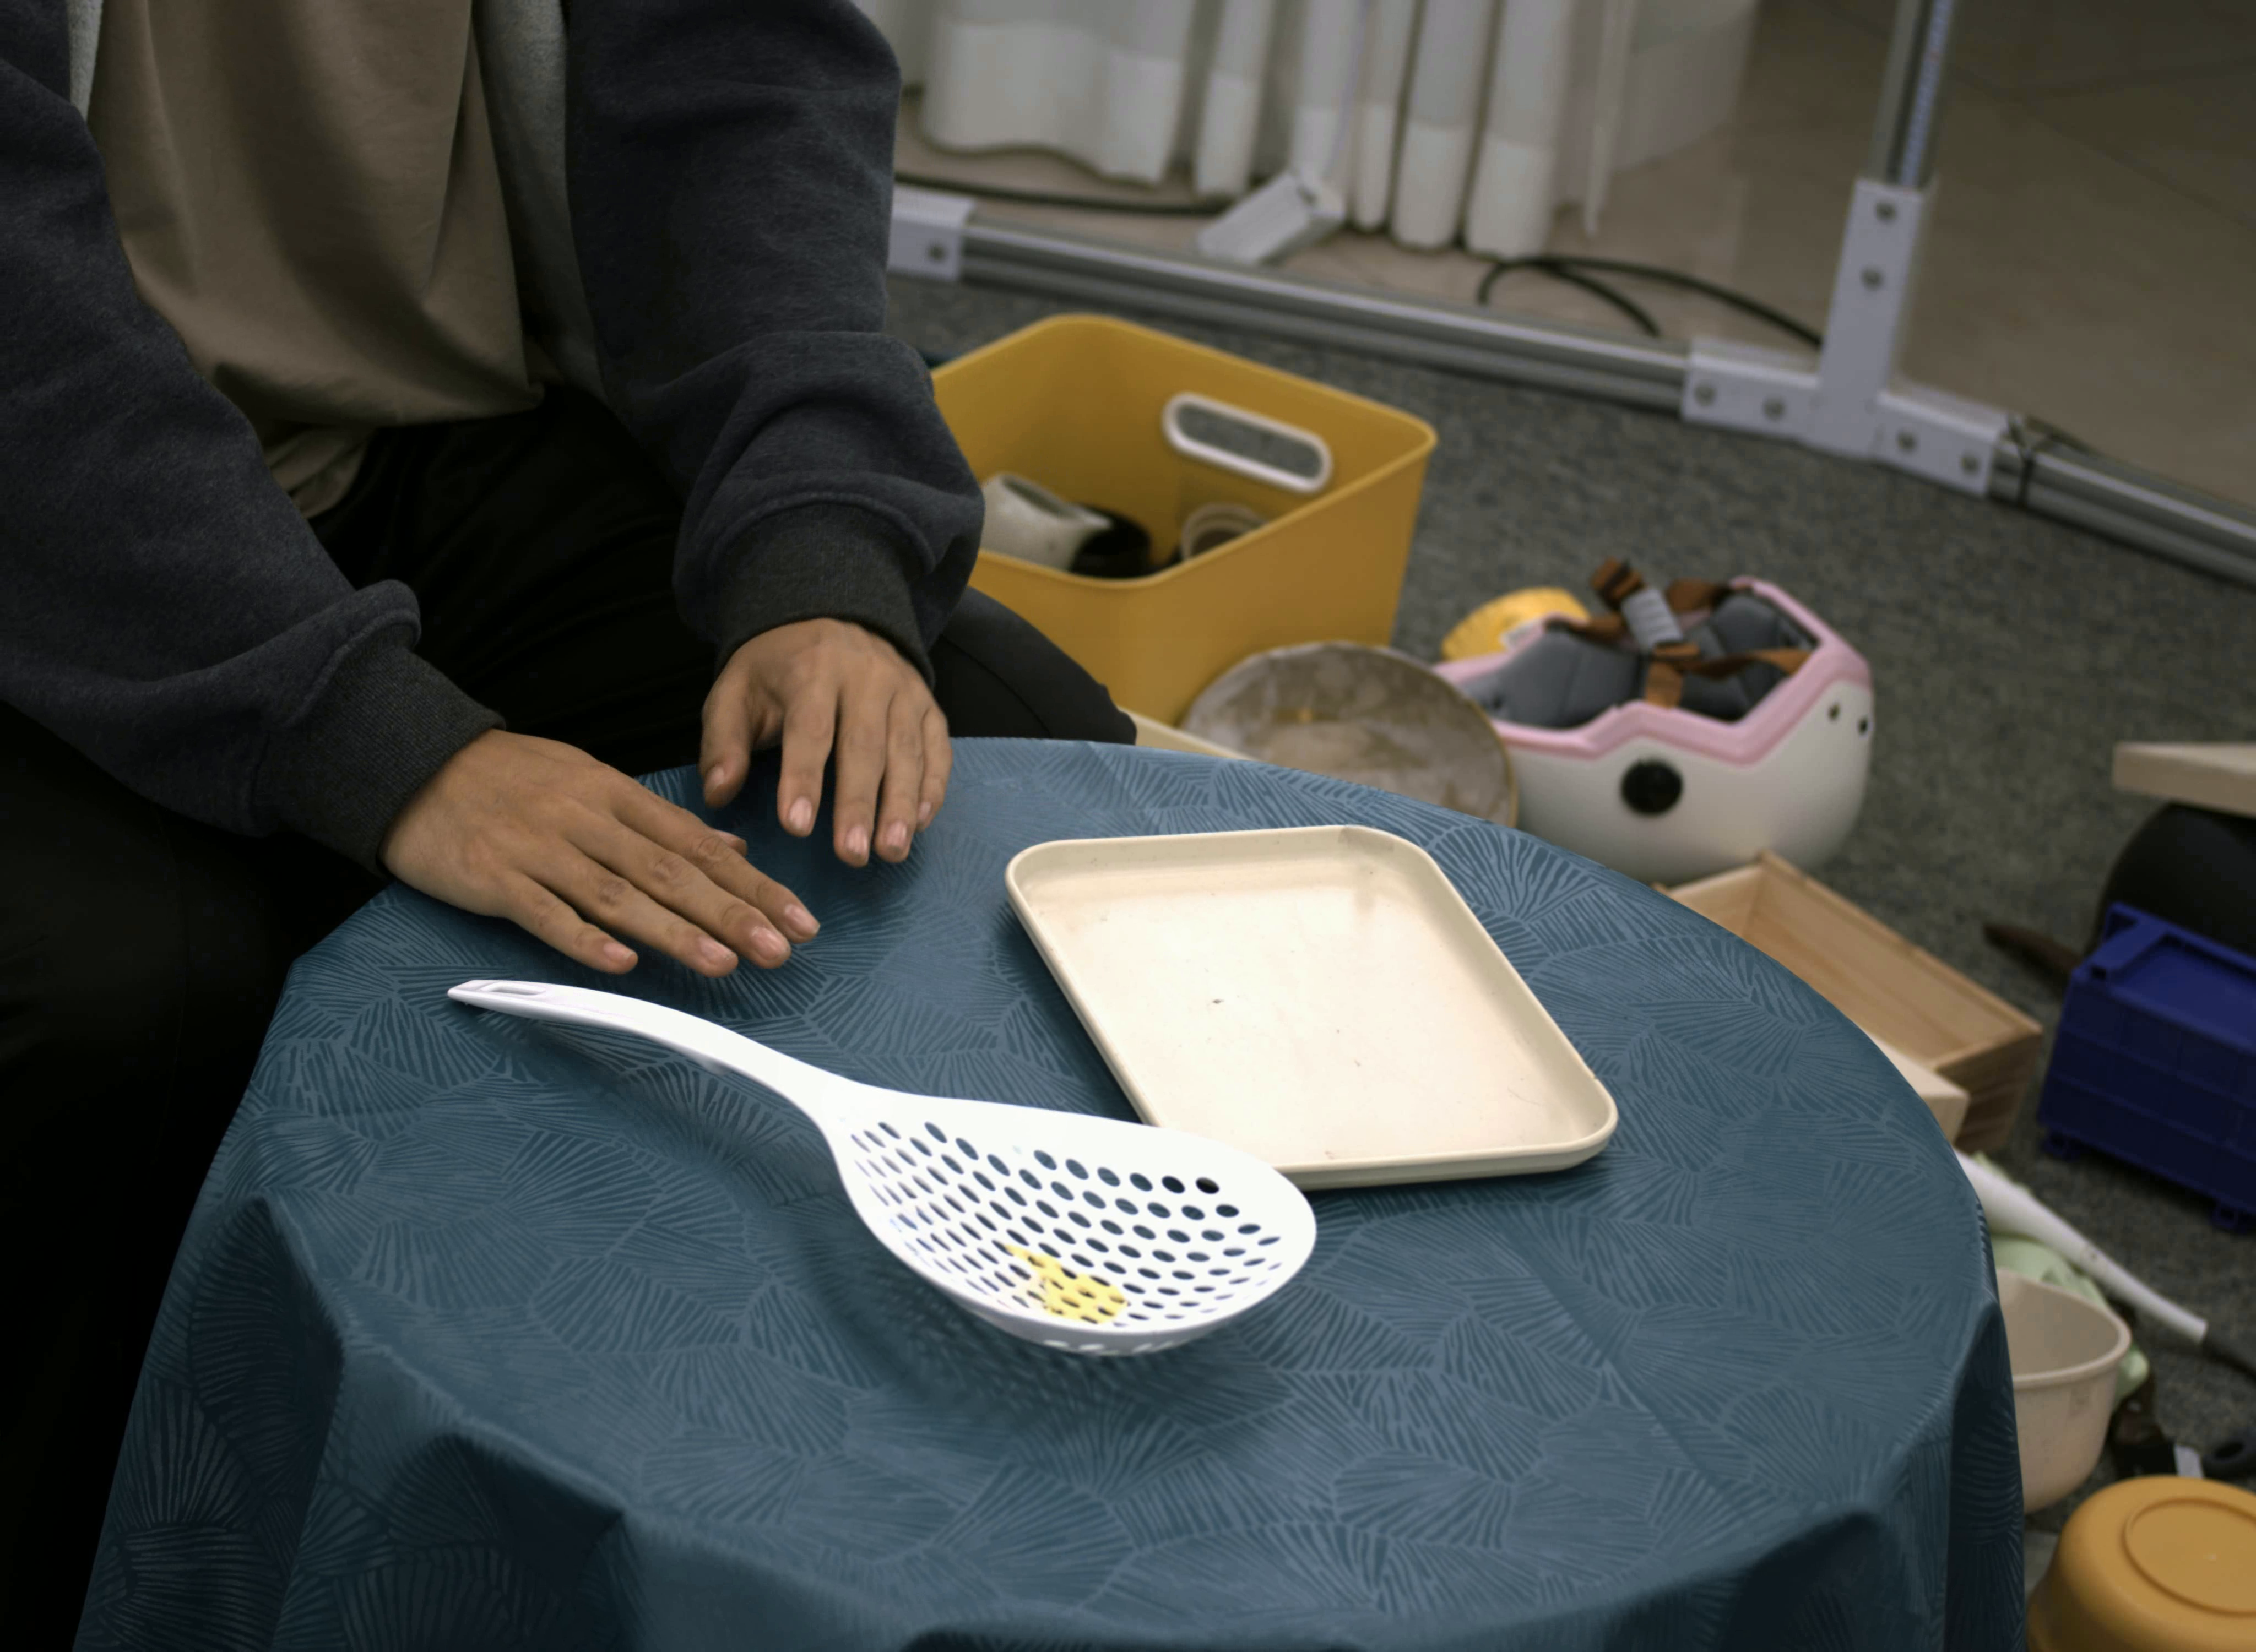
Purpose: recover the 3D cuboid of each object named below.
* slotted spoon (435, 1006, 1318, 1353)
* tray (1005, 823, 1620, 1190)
[{"bbox_3d":[-0.096,0.104,1.775,0.350,0.050,0.136,23,35,31],"label":"slotted spoon"},{"bbox_3d":[0.062,0.064,1.912,0.170,0.017,0.242,-4,29,-18],"label":"tray"}]
